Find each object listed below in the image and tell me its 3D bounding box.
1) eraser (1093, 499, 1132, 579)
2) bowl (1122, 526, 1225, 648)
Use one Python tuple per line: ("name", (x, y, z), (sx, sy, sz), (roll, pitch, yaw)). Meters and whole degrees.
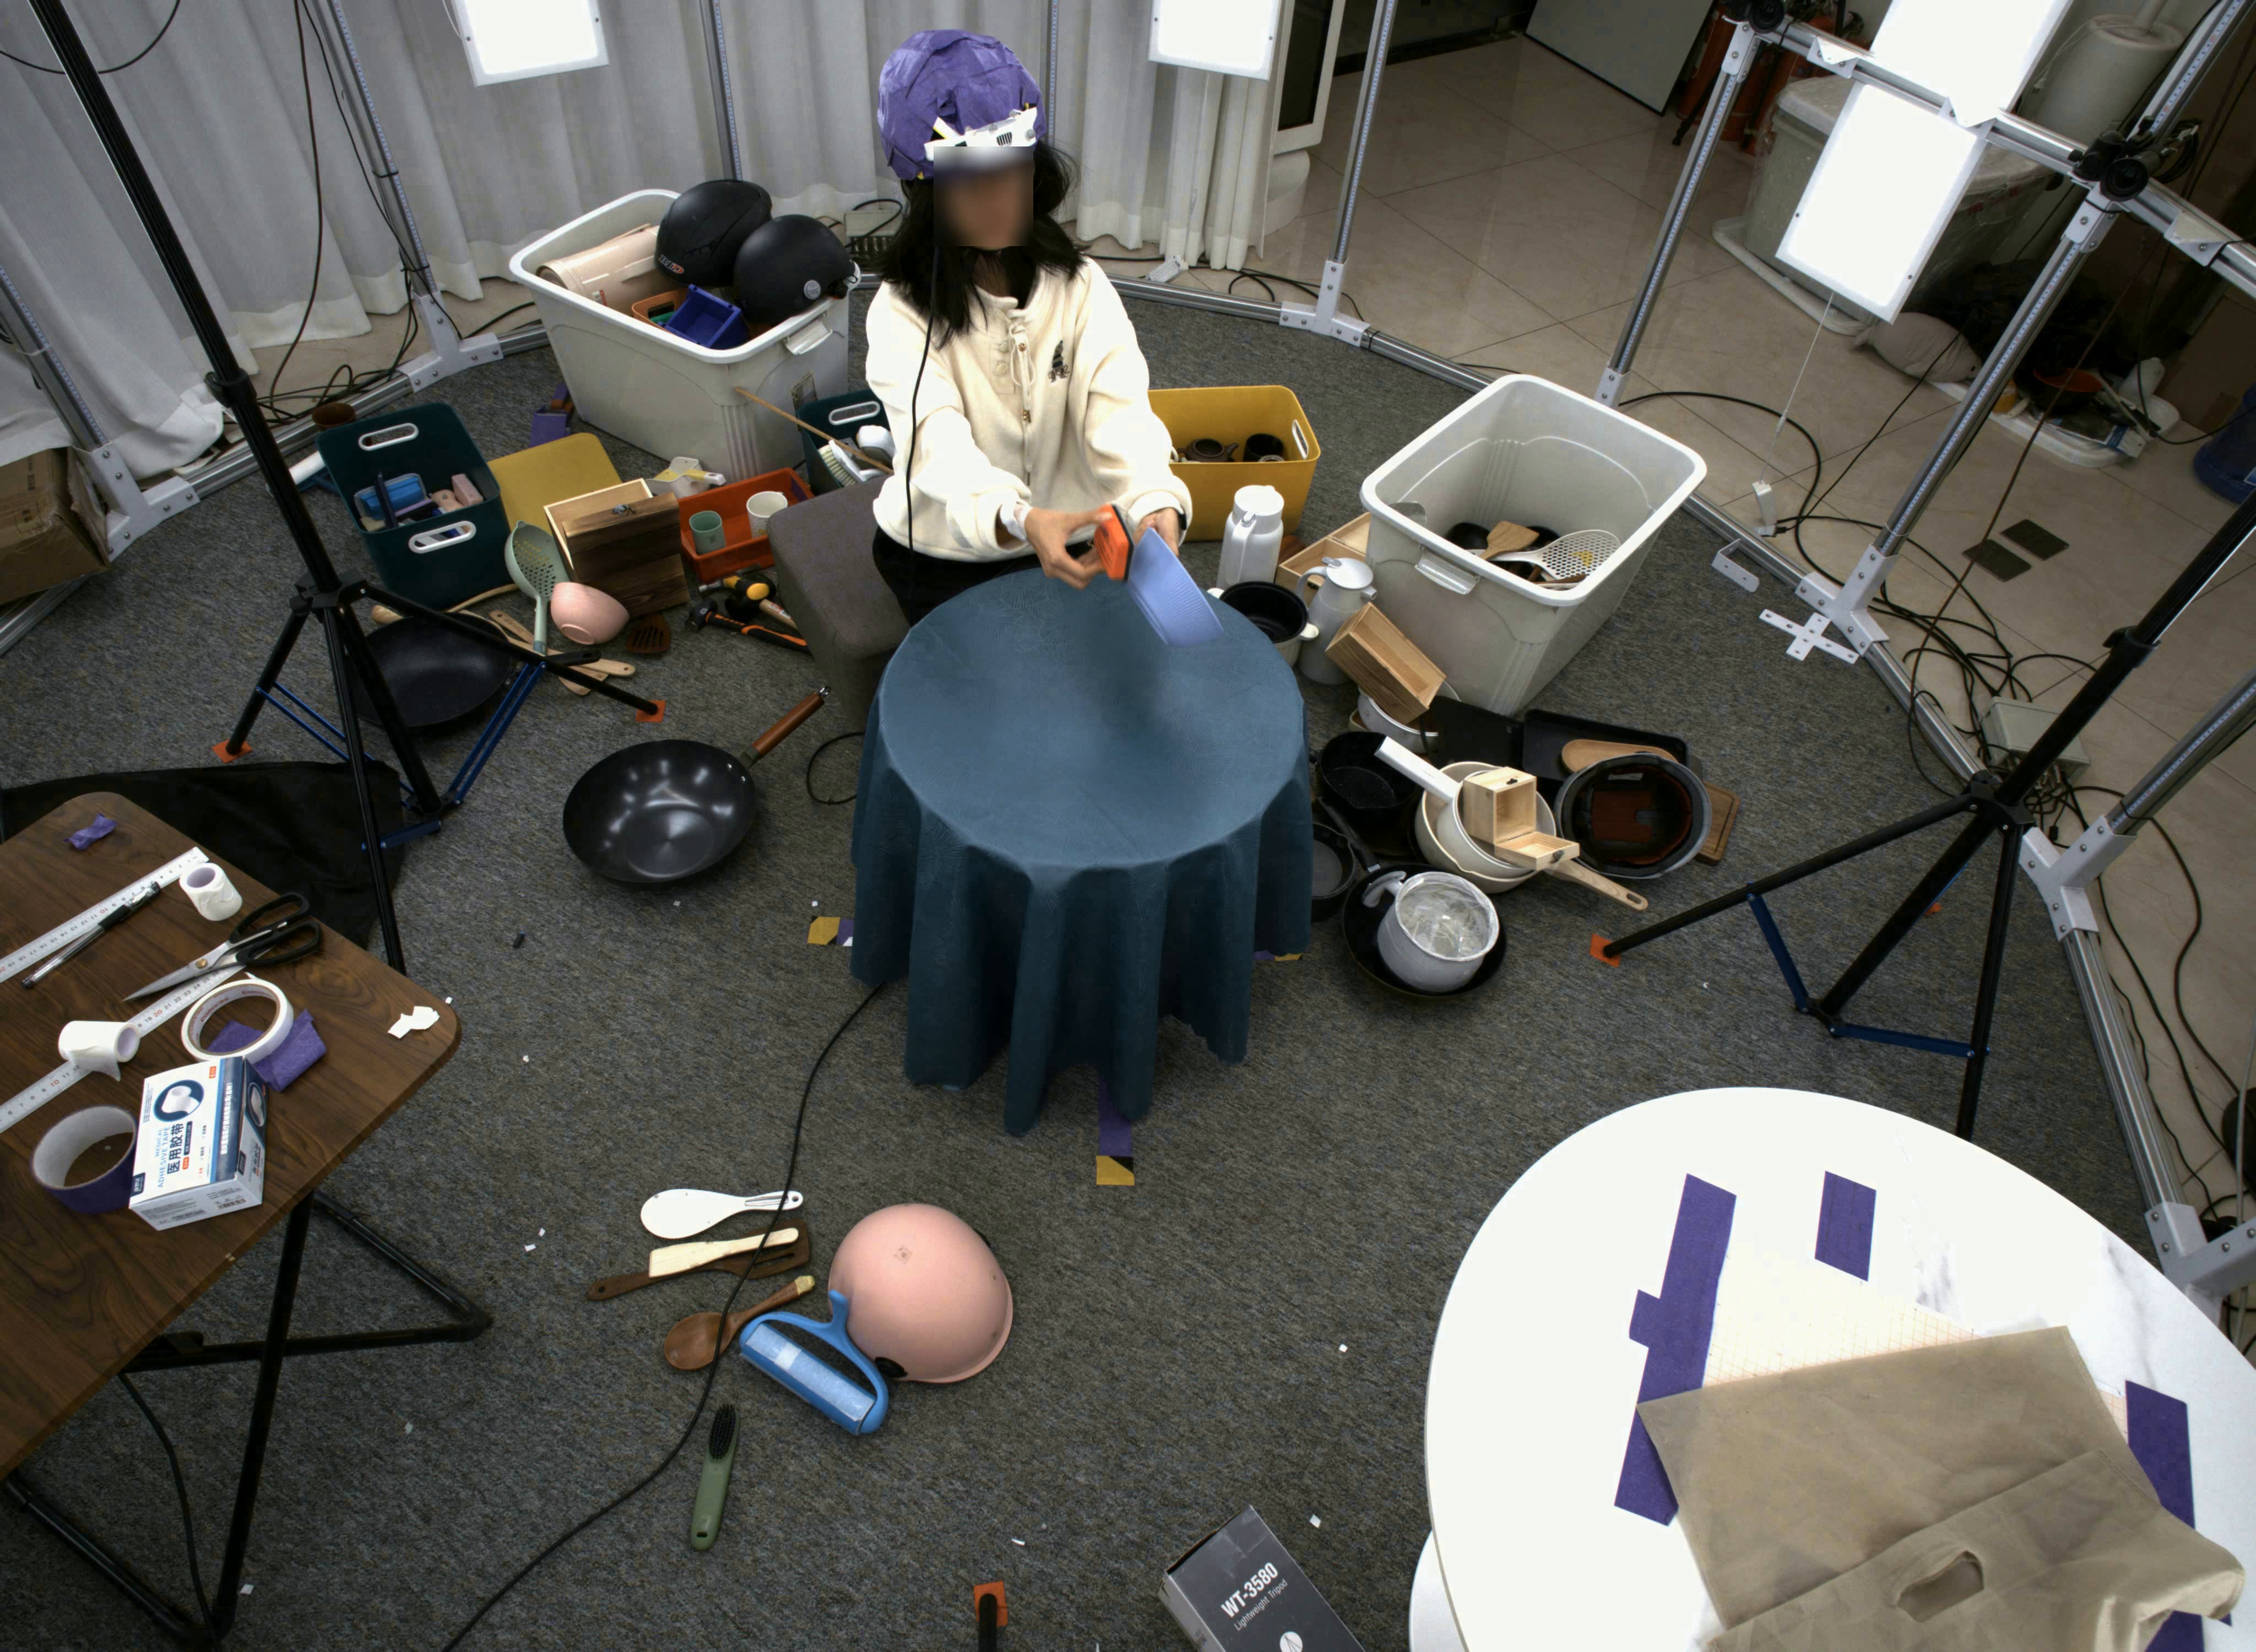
("eraser", (-0.020, -0.356, 1.599), (0.023, 0.057, 0.111), (-5, 42, -13))
("bowl", (0.050, -0.299, 1.678), (0.070, 0.172, 0.180), (-36, 57, 3))
